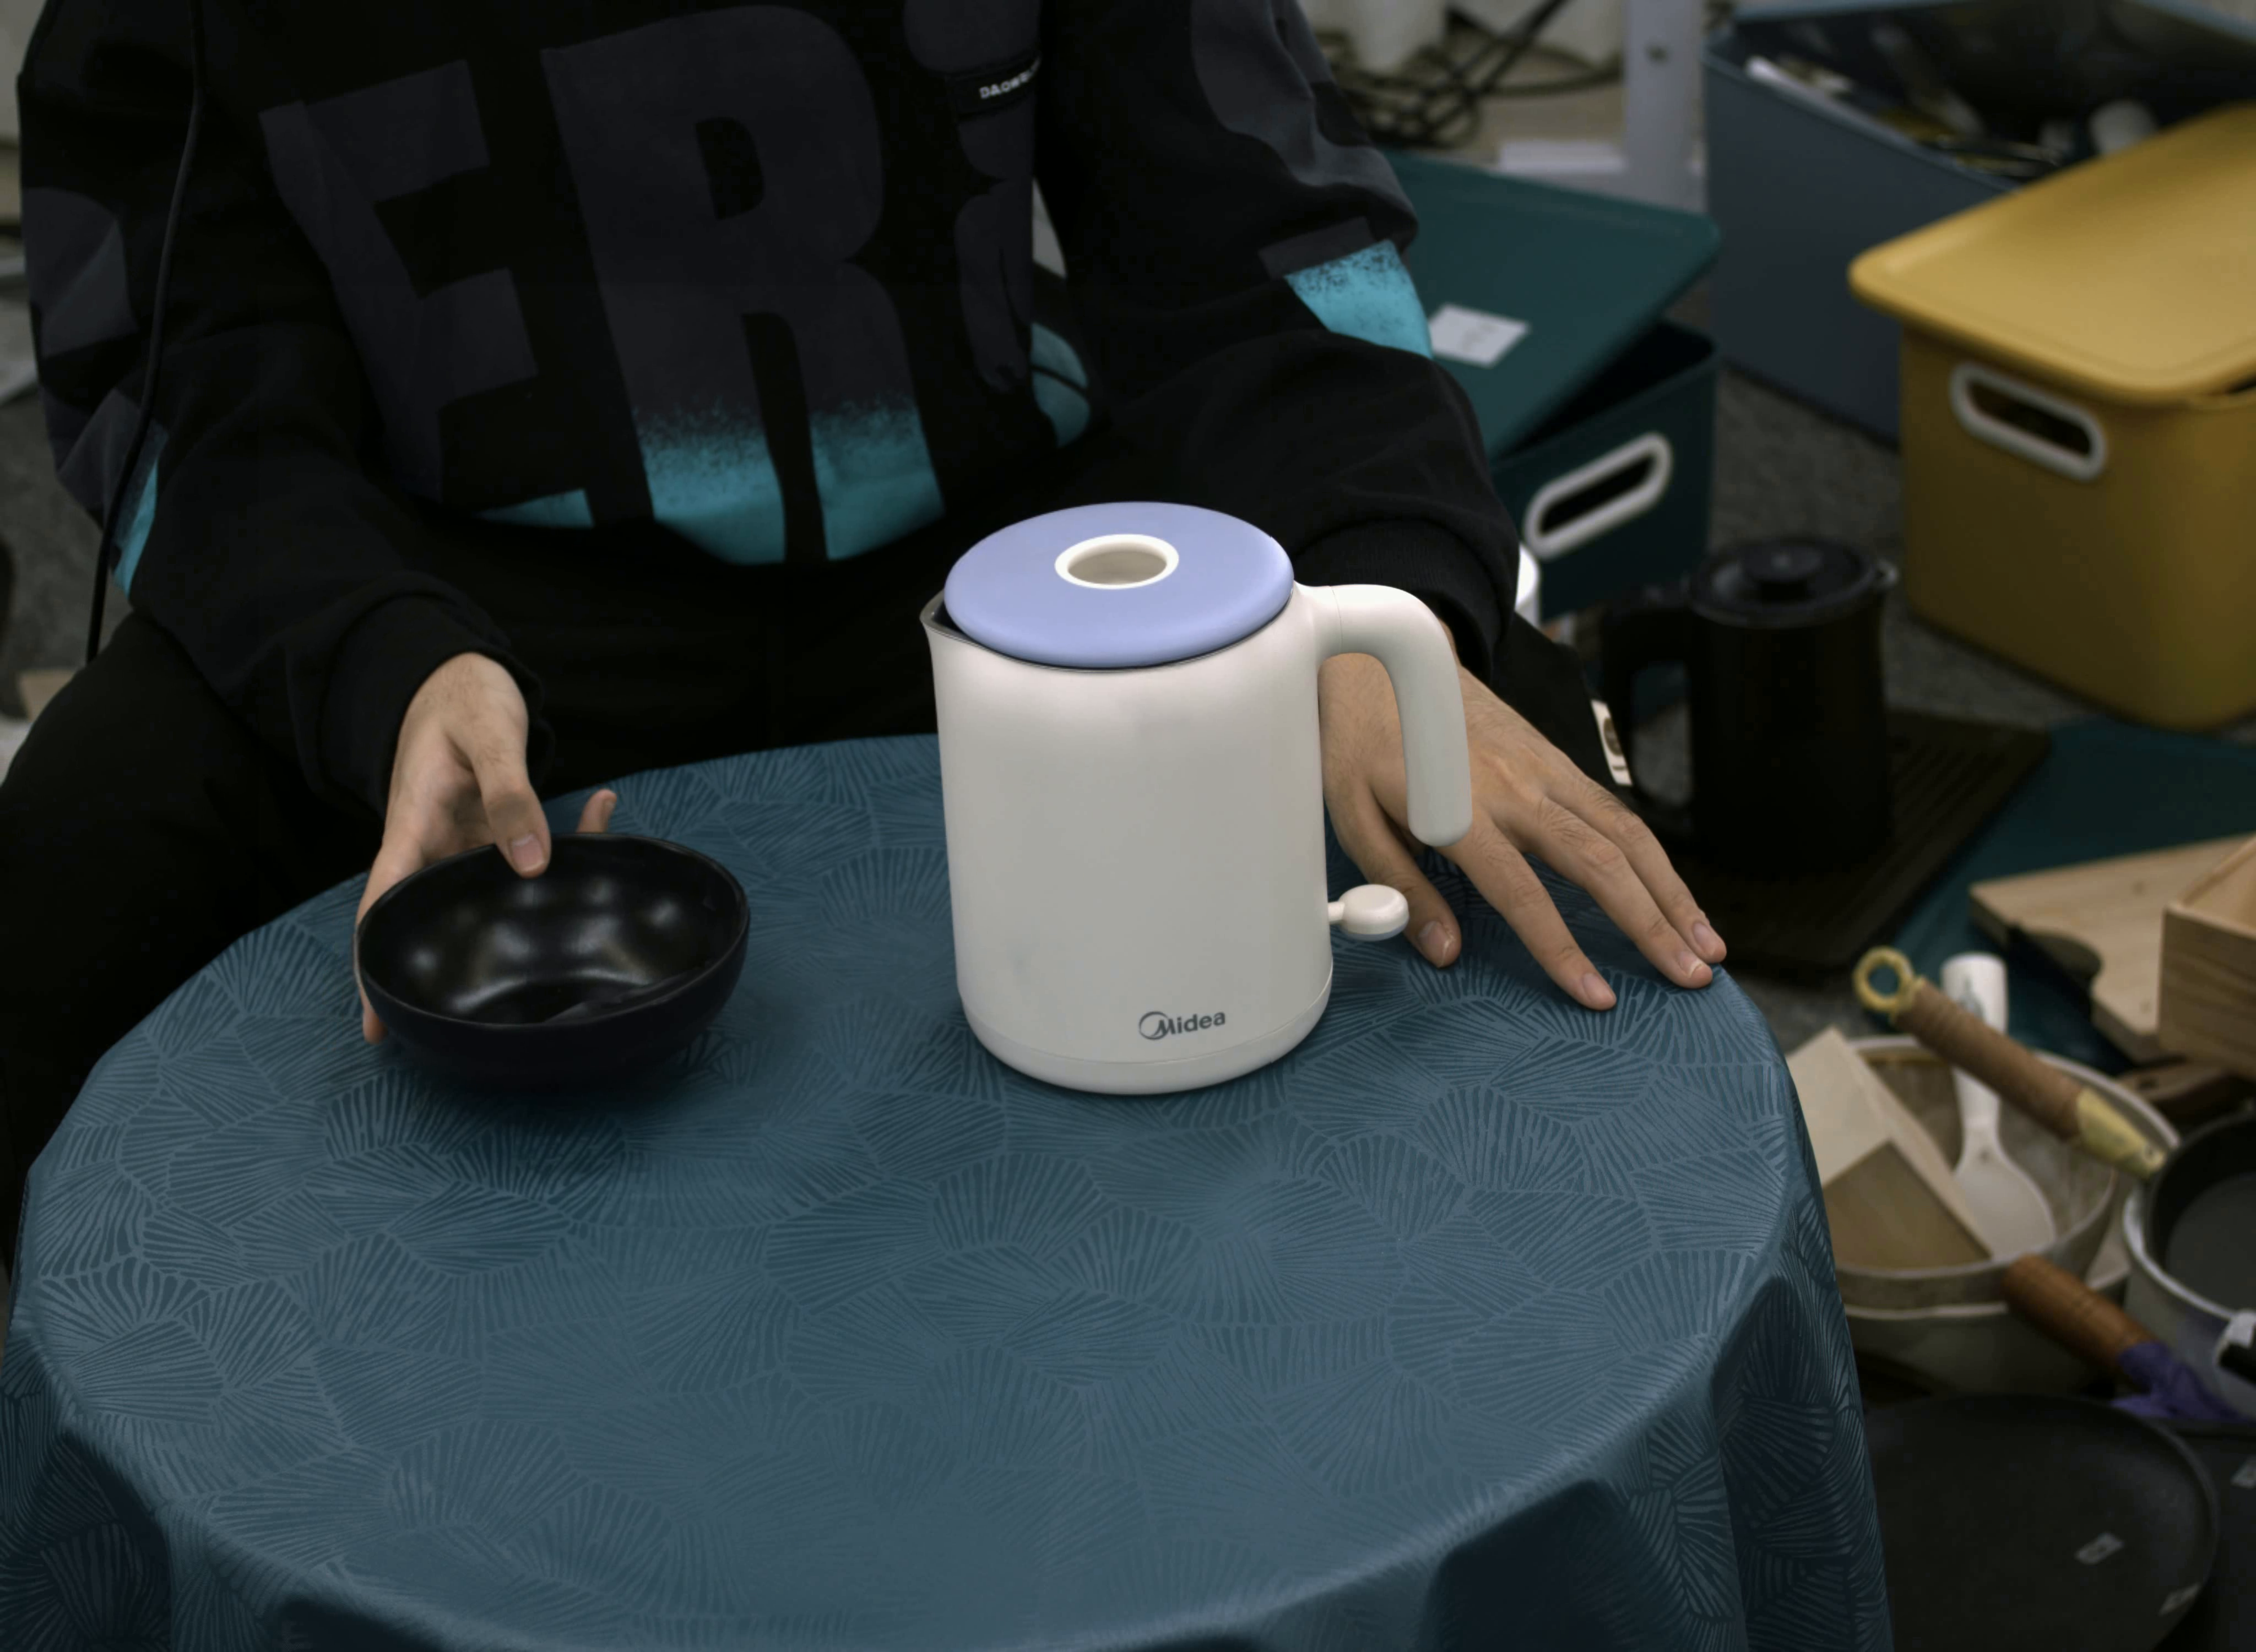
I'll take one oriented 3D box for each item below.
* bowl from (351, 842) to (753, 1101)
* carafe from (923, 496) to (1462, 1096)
[{"bbox_3d":[-0.198,0.058,1.952,0.139,0.049,0.142,-2,25,1],"label":"bowl"},{"bbox_3d":[0.025,-0.014,1.936,0.191,0.180,0.134,-7,28,-12],"label":"carafe"}]
